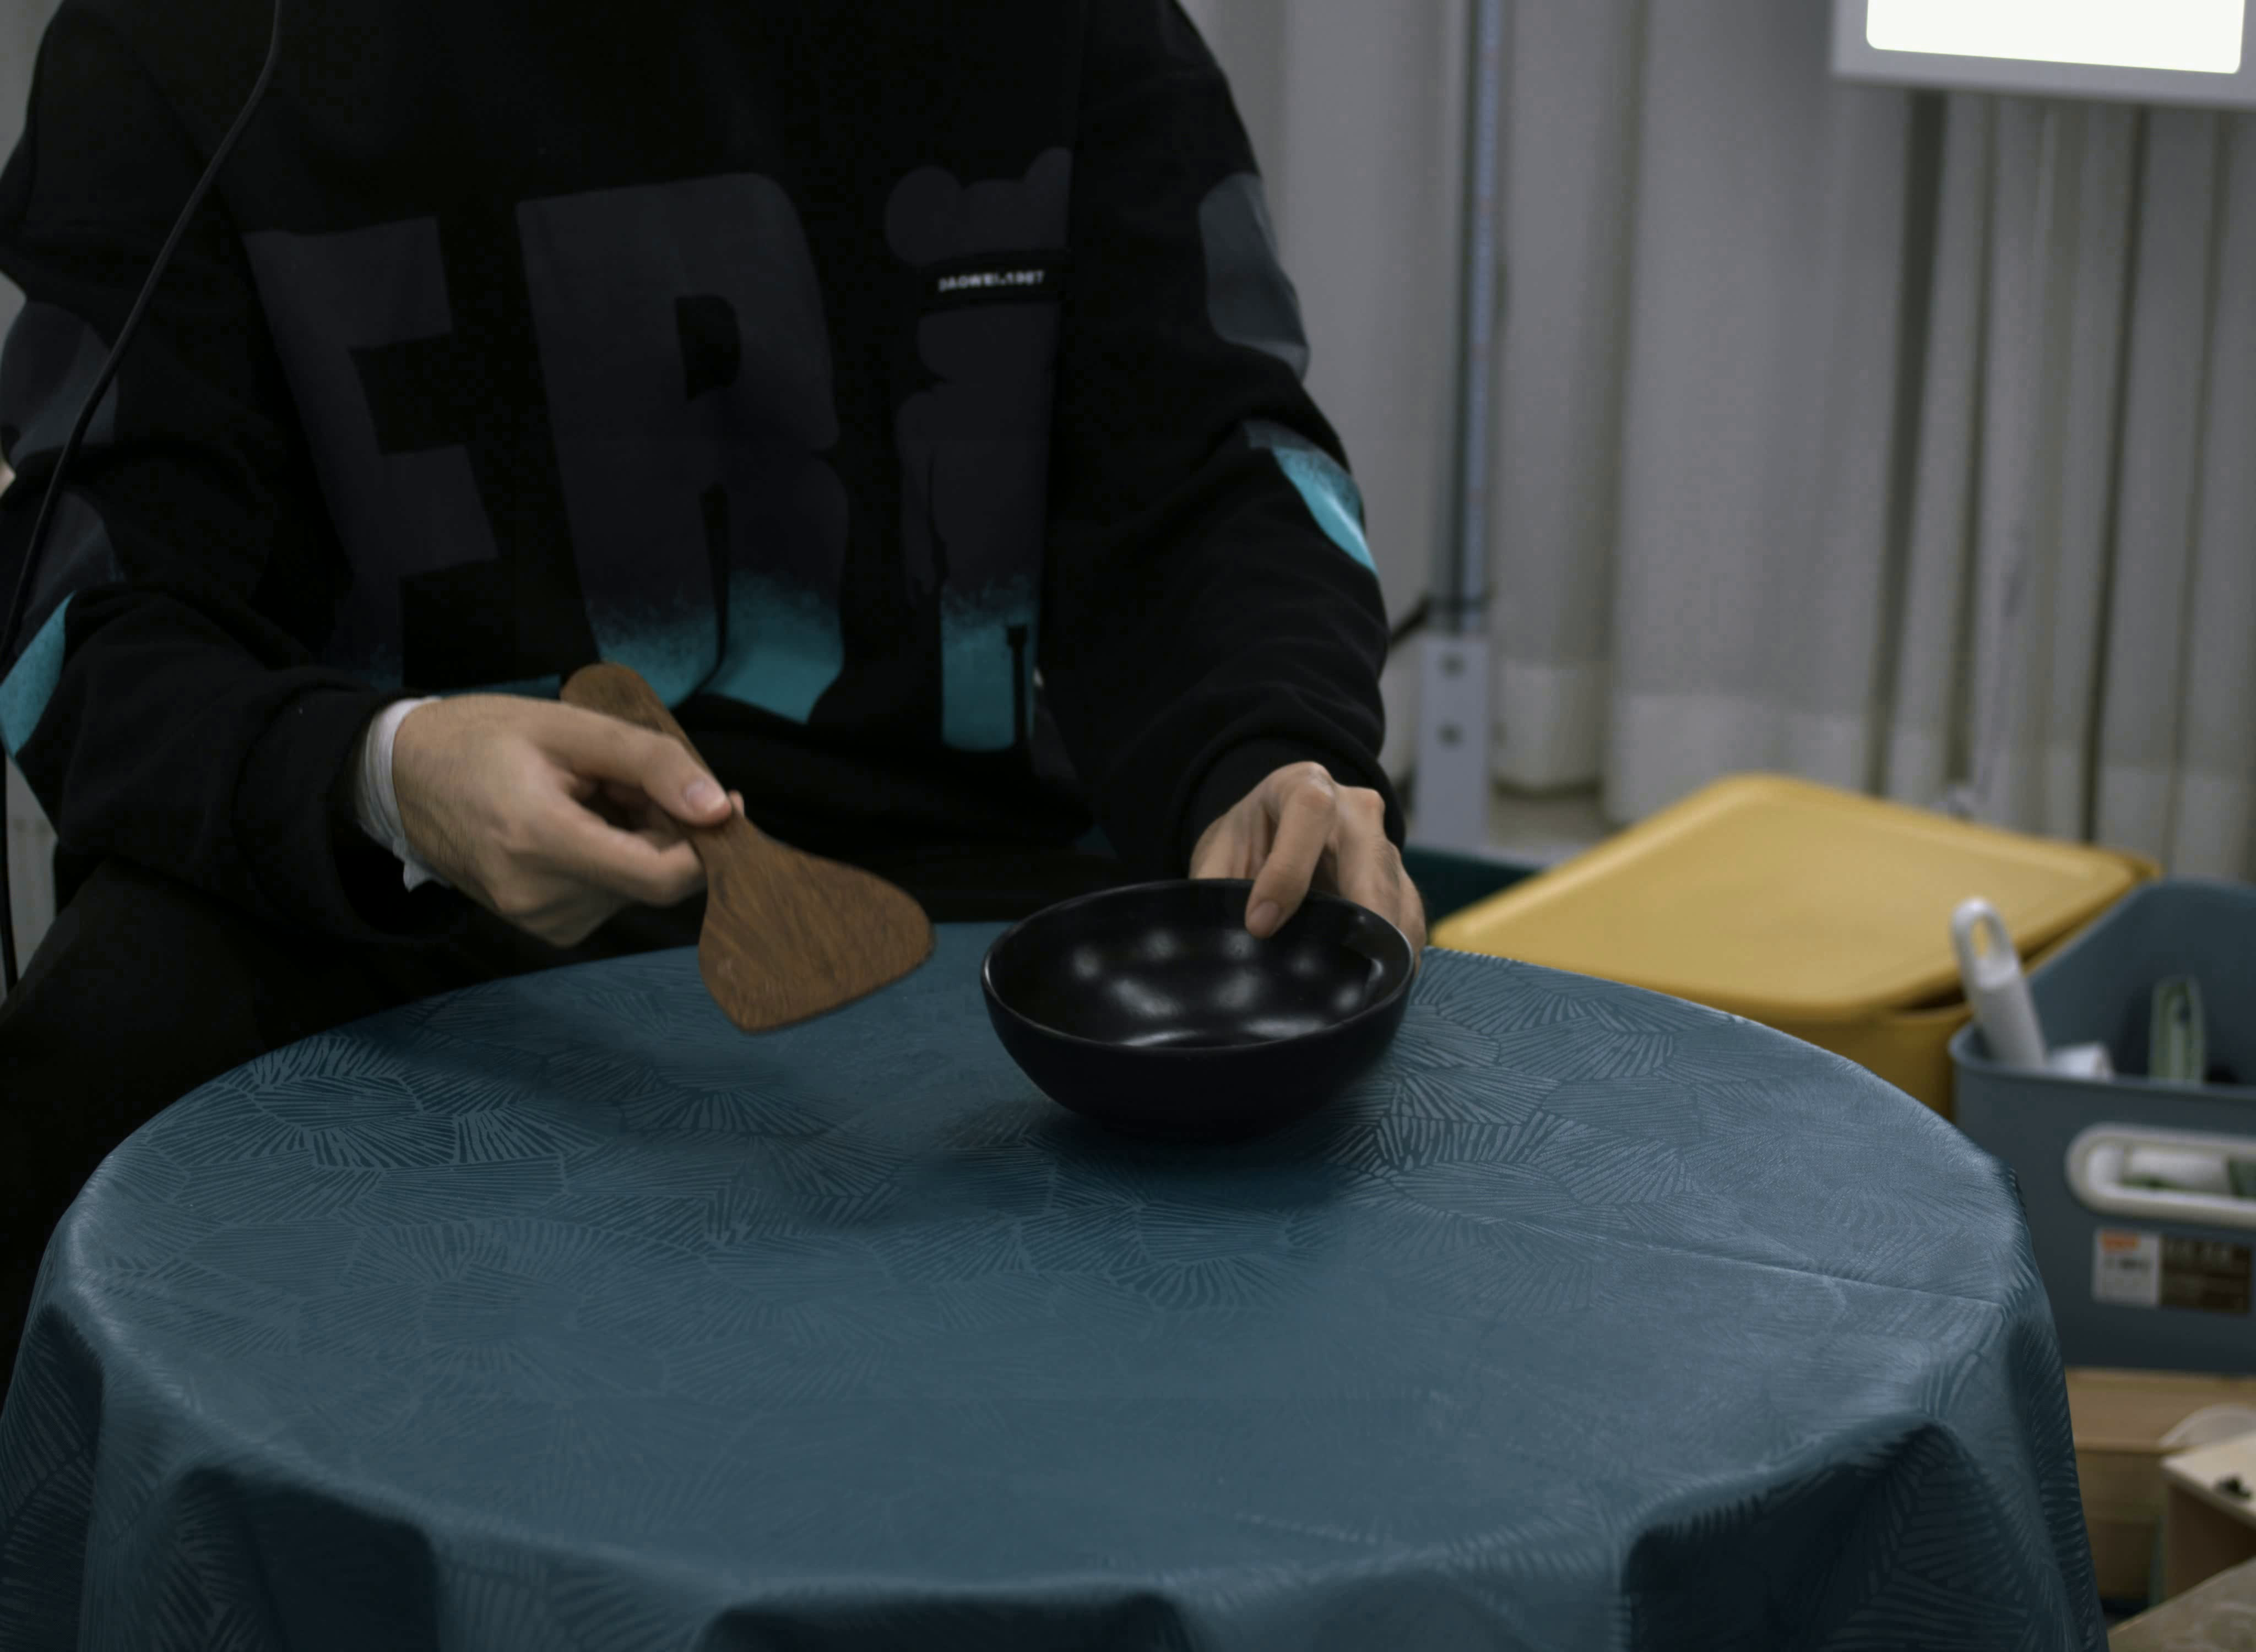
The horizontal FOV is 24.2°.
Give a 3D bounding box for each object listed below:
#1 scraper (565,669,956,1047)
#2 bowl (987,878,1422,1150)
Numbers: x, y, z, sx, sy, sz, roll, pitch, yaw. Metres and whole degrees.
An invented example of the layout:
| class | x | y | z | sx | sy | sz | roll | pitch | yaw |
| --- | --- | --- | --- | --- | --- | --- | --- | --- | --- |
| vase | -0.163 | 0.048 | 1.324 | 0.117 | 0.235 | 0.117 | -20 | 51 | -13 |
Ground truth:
| class | x | y | z | sx | sy | sz | roll | pitch | yaw |
| --- | --- | --- | --- | --- | --- | --- | --- | --- | --- |
| scraper | -0.129 | 0.006 | 1.676 | 0.076 | 0.011 | 0.208 | -23 | 41 | -18 |
| bowl | 0.026 | 0.066 | 1.682 | 0.139 | 0.050 | 0.139 | -3 | 23 | 2 |
